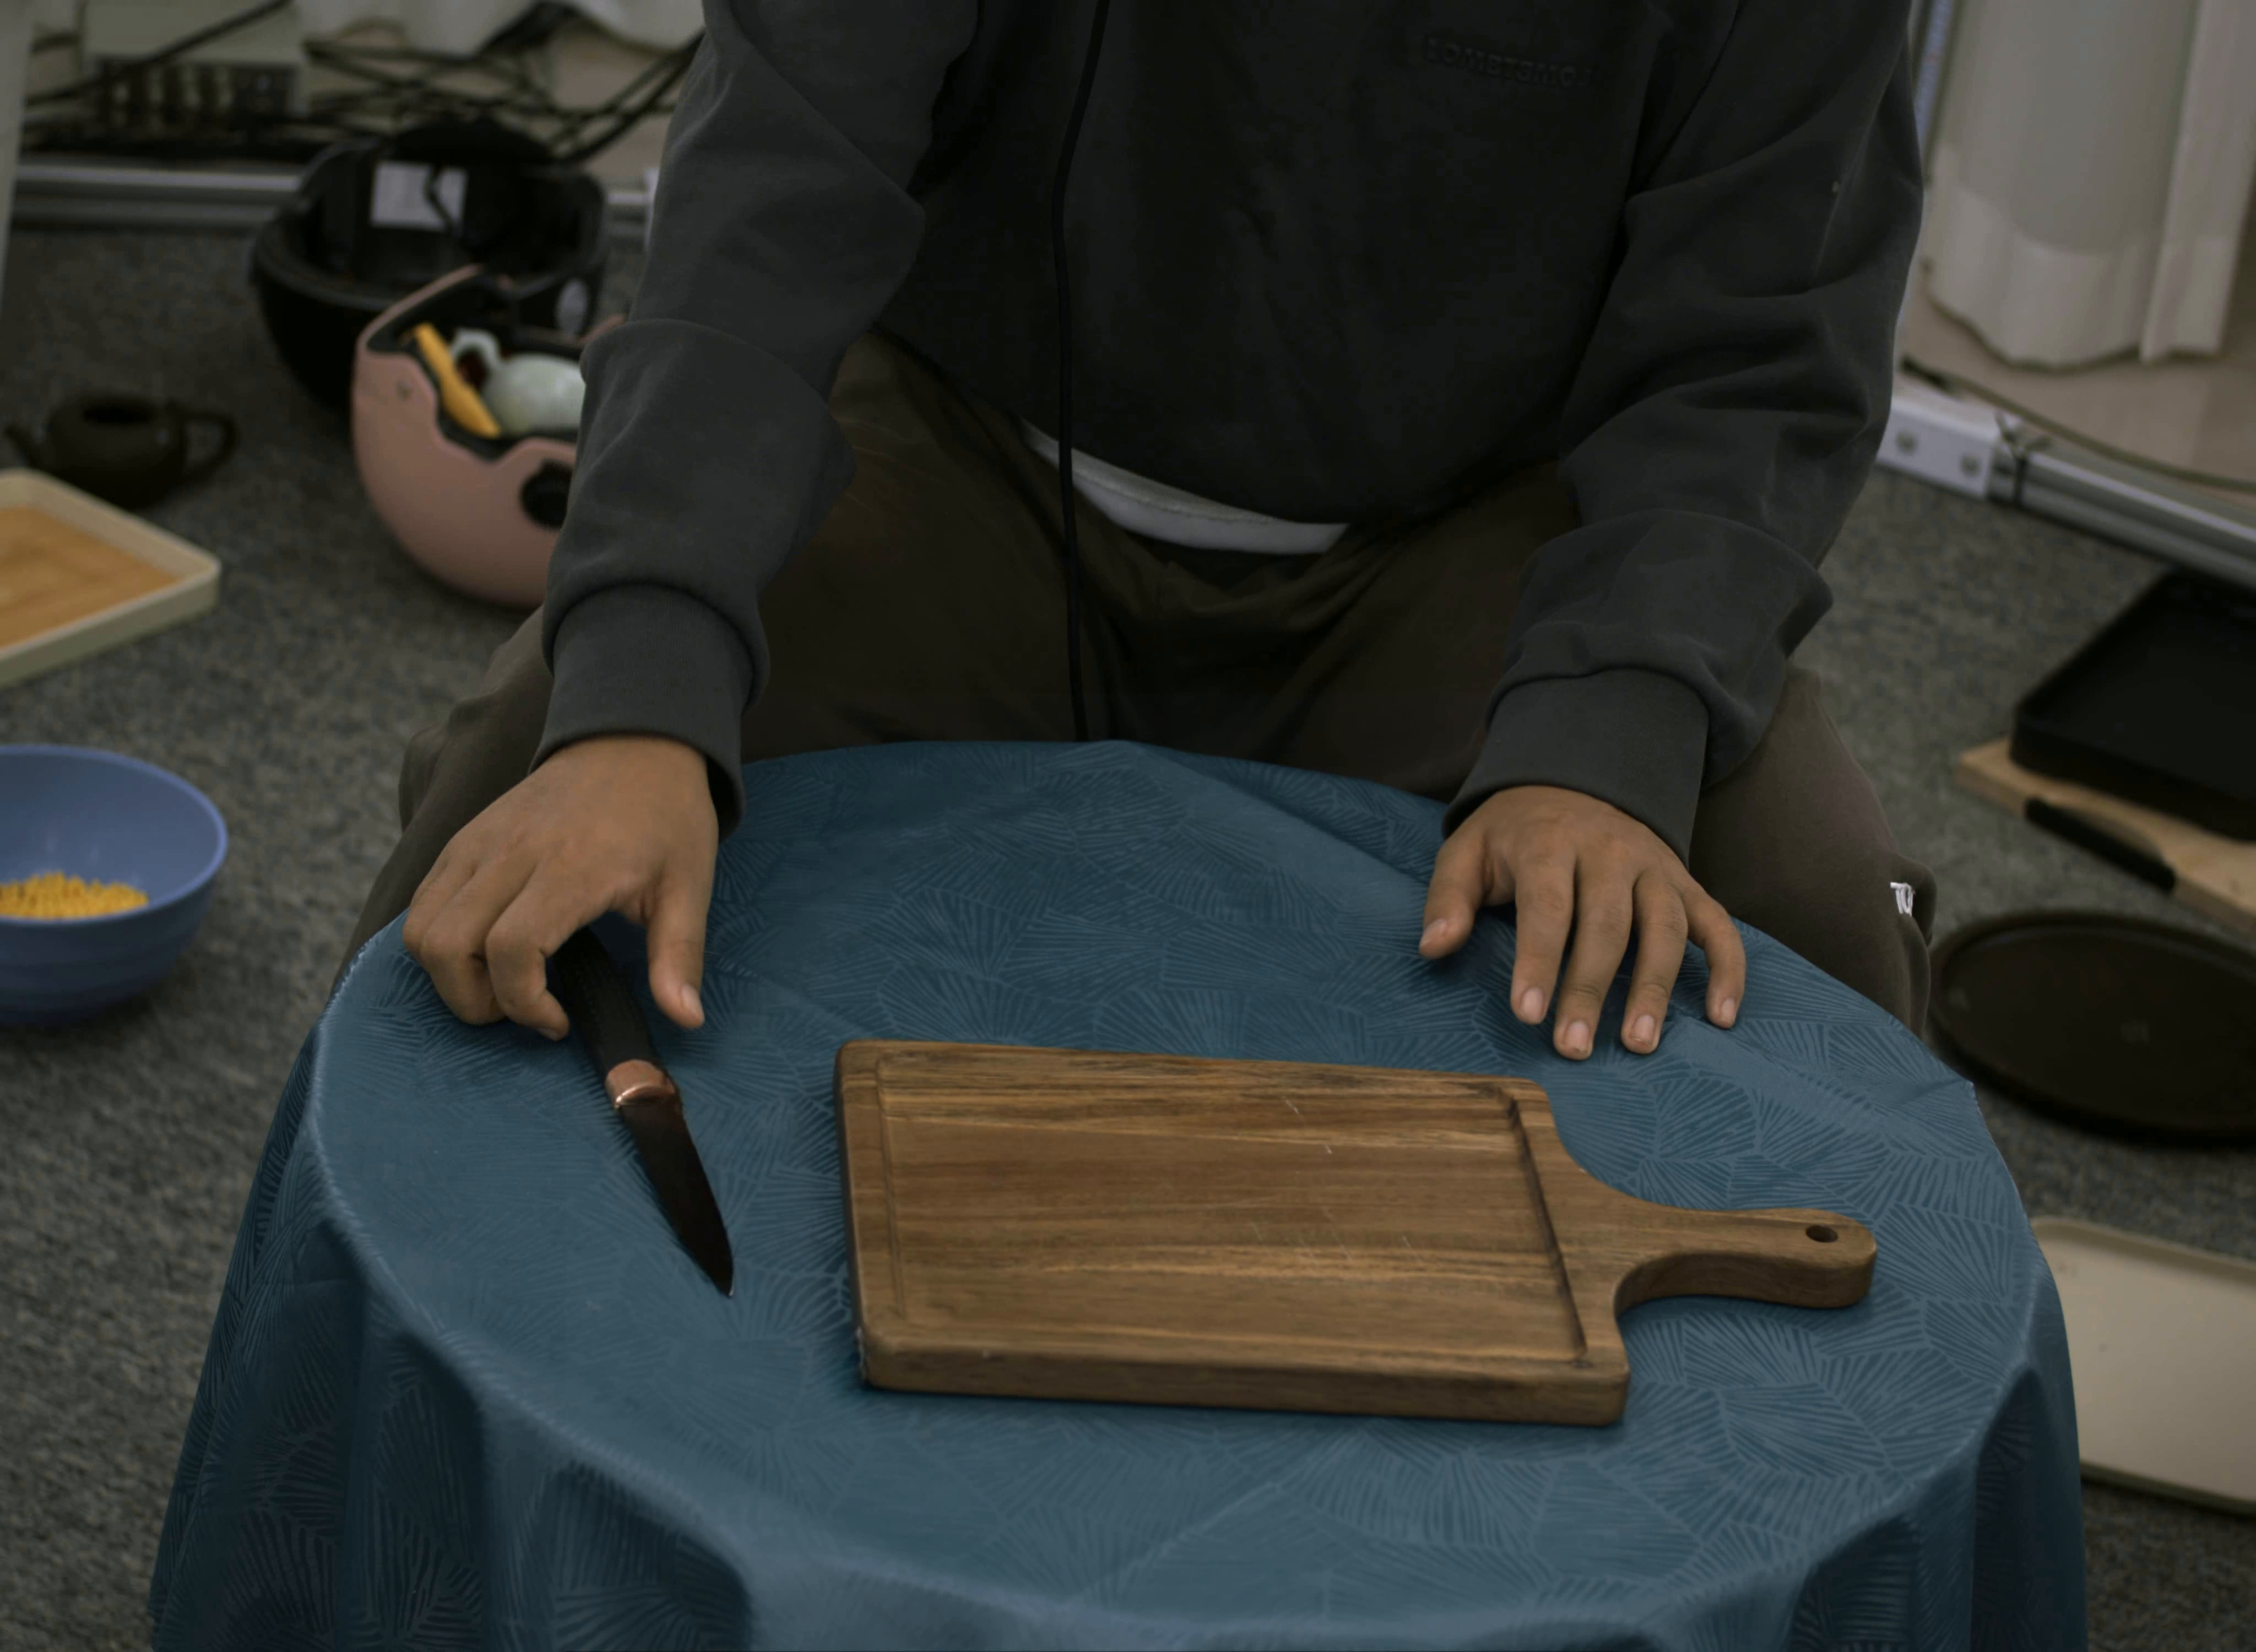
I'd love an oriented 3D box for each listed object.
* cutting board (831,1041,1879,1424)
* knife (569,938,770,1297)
[{"bbox_3d":[0.079,0.136,1.778,0.350,0.023,0.202,3,27,-7],"label":"cutting board"},{"bbox_3d":[-0.158,0.098,1.809,0.026,0.017,0.227,3,27,-22],"label":"knife"}]
